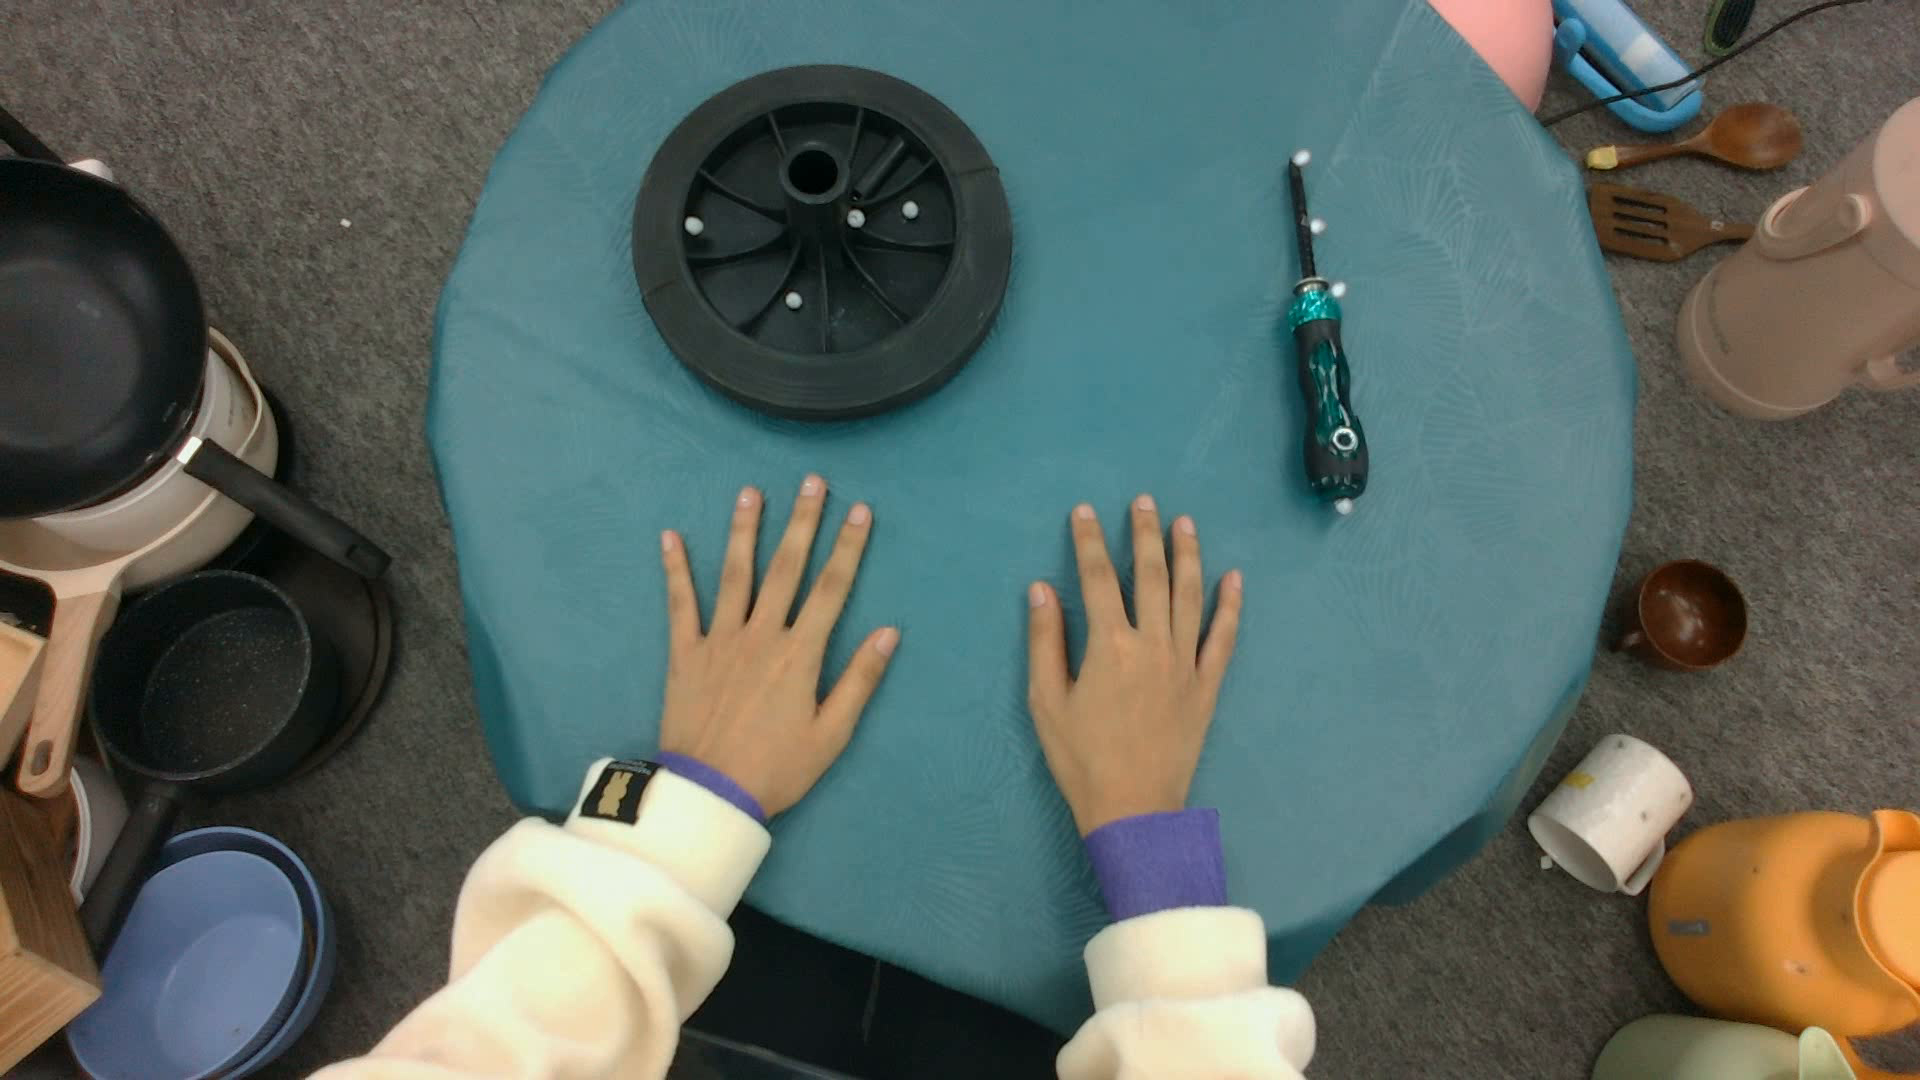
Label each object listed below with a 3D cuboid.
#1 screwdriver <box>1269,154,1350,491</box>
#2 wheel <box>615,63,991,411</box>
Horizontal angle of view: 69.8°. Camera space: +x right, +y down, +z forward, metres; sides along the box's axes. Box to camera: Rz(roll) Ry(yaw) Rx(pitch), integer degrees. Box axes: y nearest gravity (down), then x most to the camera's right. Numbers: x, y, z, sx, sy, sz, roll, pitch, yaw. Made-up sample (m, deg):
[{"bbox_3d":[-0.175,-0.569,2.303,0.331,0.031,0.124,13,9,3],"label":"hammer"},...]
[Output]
[{"bbox_3d":[0.170,-0.115,0.696,0.034,0.033,0.190,-2,69,-3],"label":"screwdriver"},{"bbox_3d":[-0.076,-0.161,0.670,0.187,0.079,0.190,12,71,1],"label":"wheel"}]
